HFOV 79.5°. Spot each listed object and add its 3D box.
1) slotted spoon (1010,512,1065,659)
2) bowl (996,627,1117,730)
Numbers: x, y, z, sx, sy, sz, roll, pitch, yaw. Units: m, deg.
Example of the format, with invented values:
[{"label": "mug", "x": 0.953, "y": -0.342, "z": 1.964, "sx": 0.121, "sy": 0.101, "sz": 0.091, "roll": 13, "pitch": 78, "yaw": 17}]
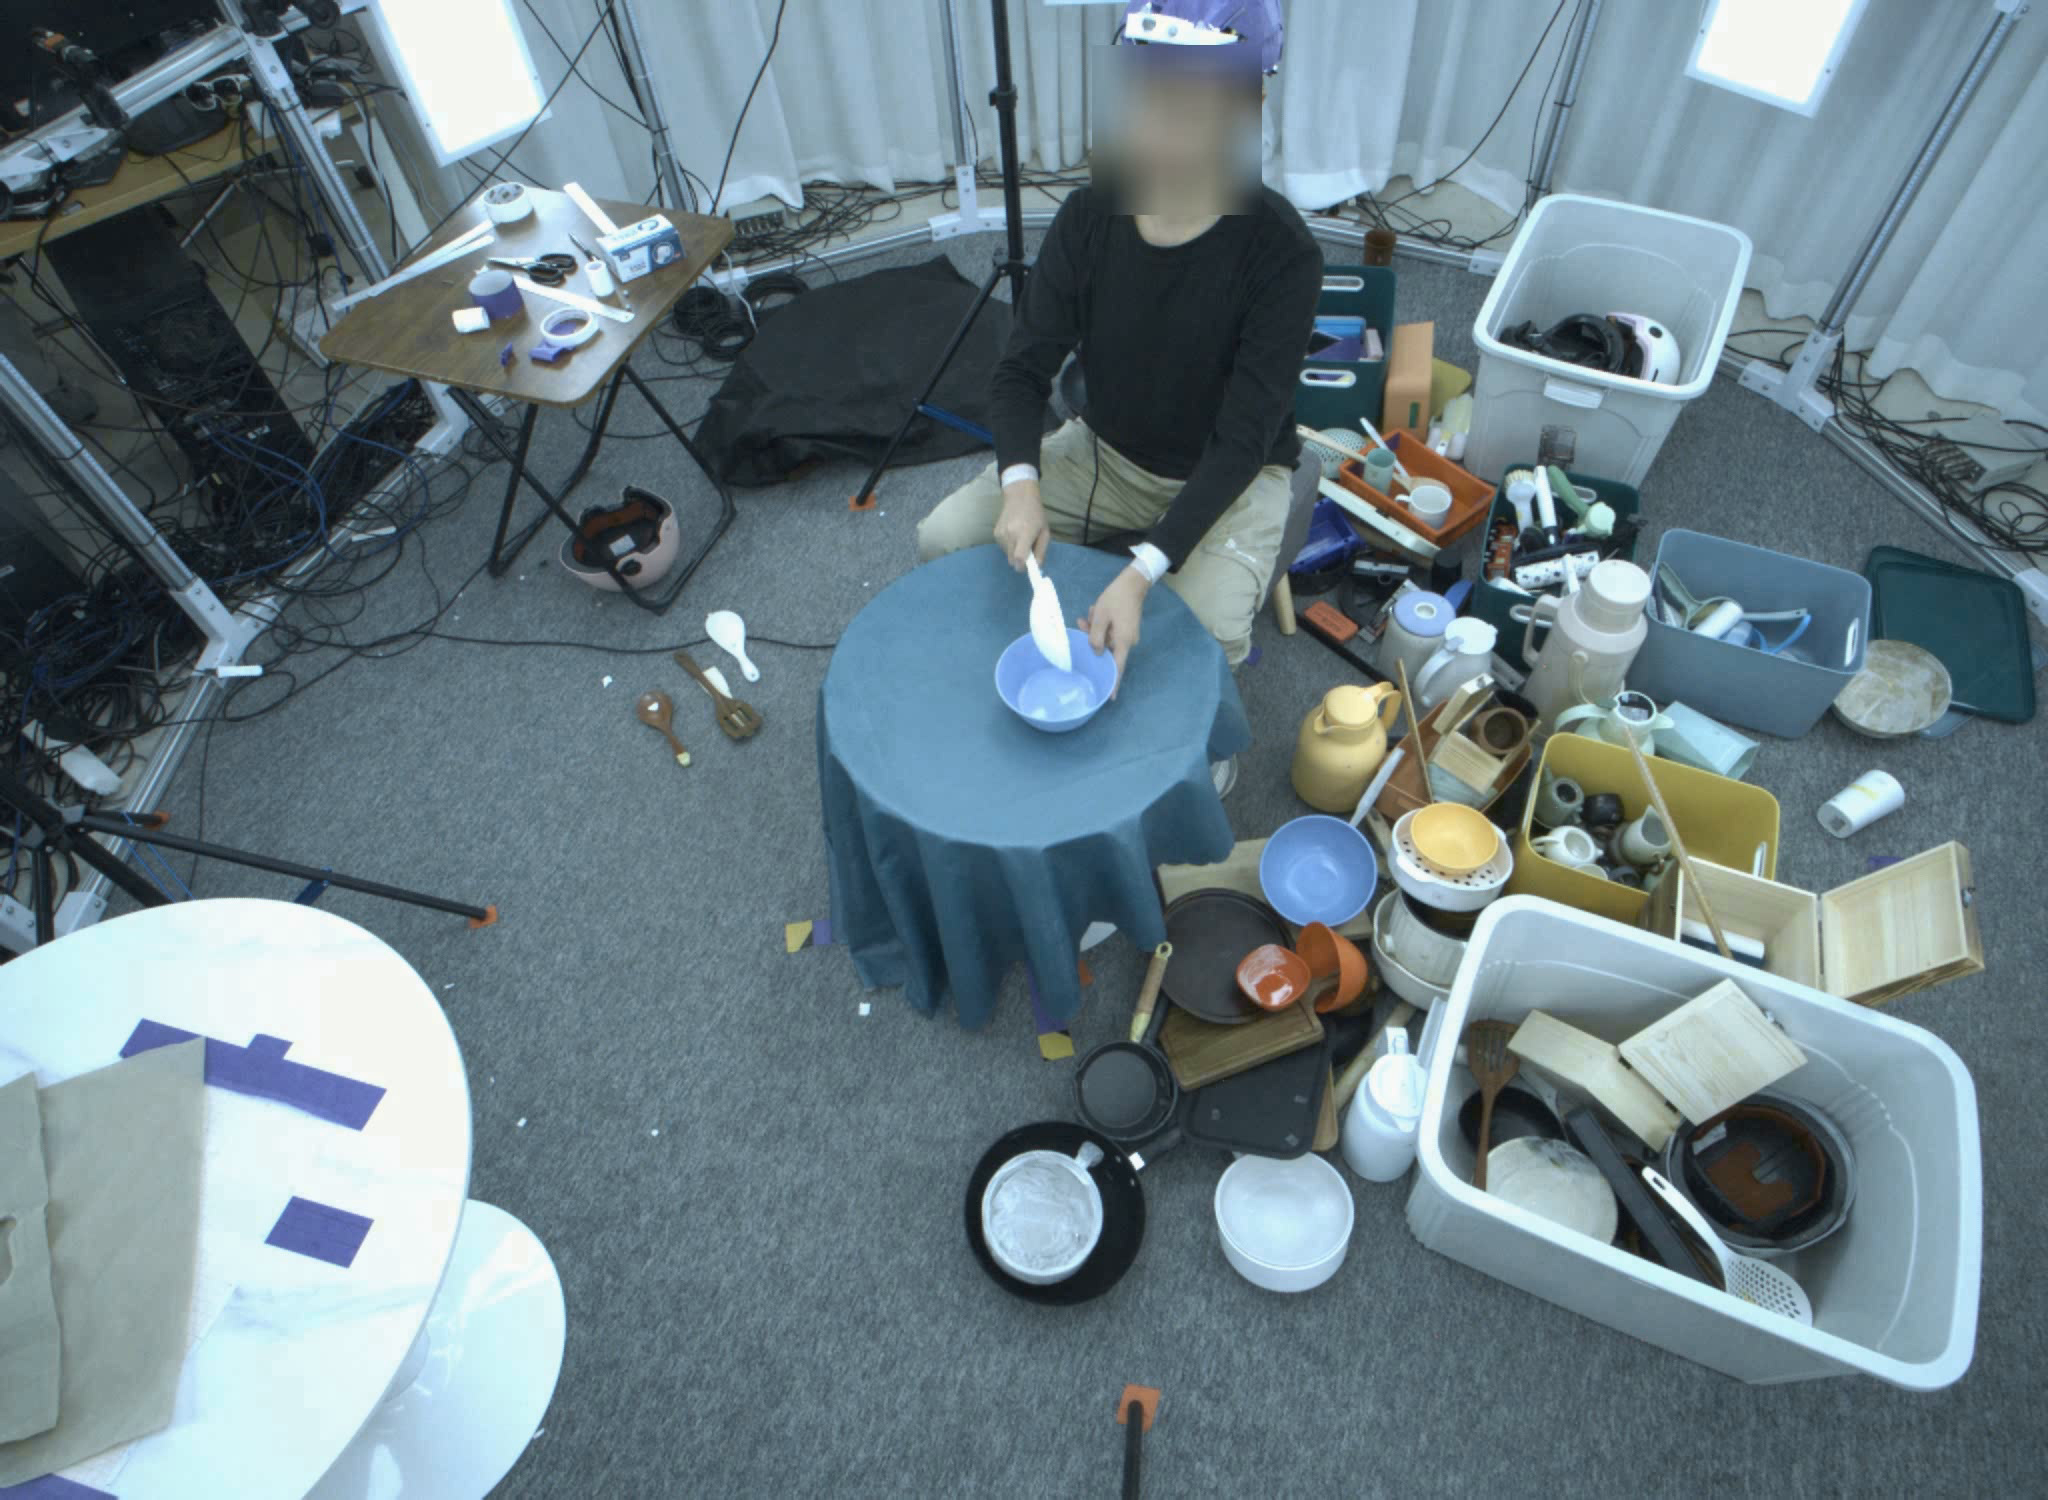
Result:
[{"label": "slotted spoon", "x": 0.014, "y": -0.259, "z": 1.814, "sx": 0.045, "sy": 0.138, "sz": 0.345, "roll": -12, "pitch": 41, "yaw": 3}, {"label": "bowl", "x": 0.048, "y": -0.094, "z": 1.810, "sx": 0.176, "sy": 0.071, "sz": 0.174, "roll": 0, "pitch": 54, "yaw": 1}]
